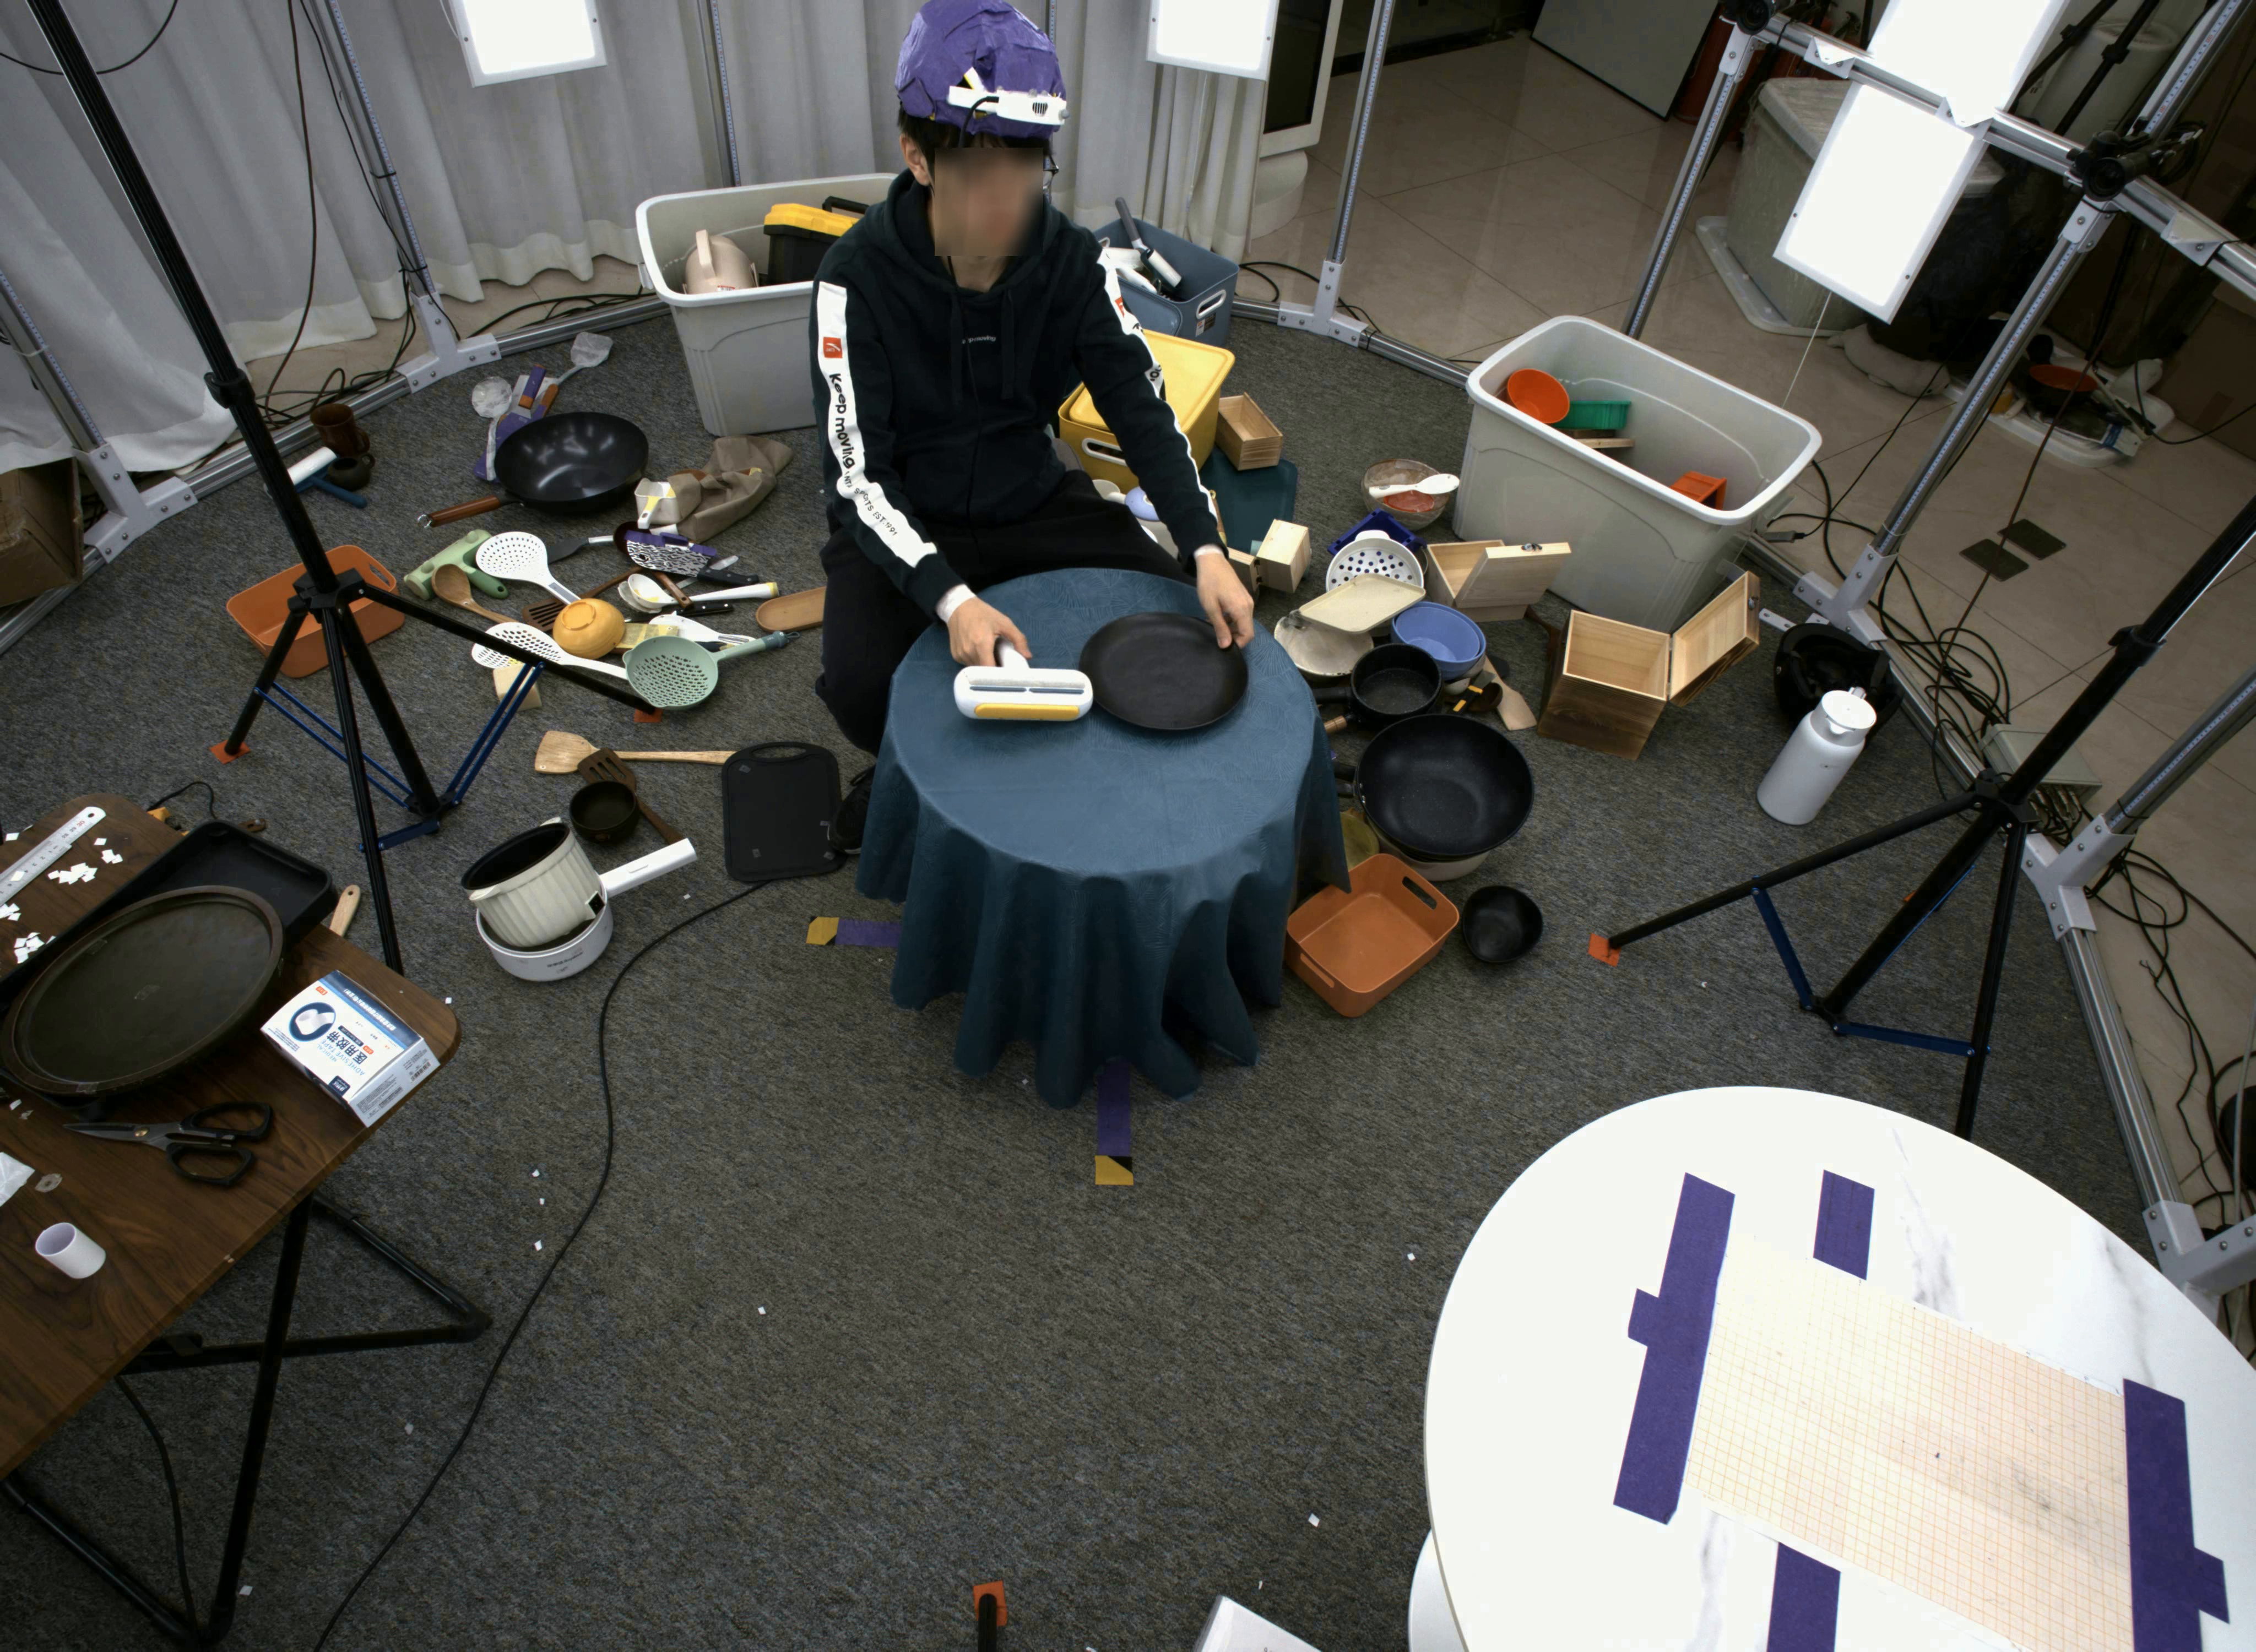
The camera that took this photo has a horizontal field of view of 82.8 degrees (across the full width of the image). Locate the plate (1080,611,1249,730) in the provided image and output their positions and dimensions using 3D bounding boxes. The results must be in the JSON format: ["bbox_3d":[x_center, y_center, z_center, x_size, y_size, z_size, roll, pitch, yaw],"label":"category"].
[{"bbox_3d":[0.052,-0.221,1.848,0.244,0.023,0.250,1,49,-2],"label":"plate"}]

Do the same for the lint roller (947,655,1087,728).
[{"bbox_3d":[-0.162,-0.205,1.815,0.192,0.072,0.197,2,35,-12],"label":"lint roller"}]
